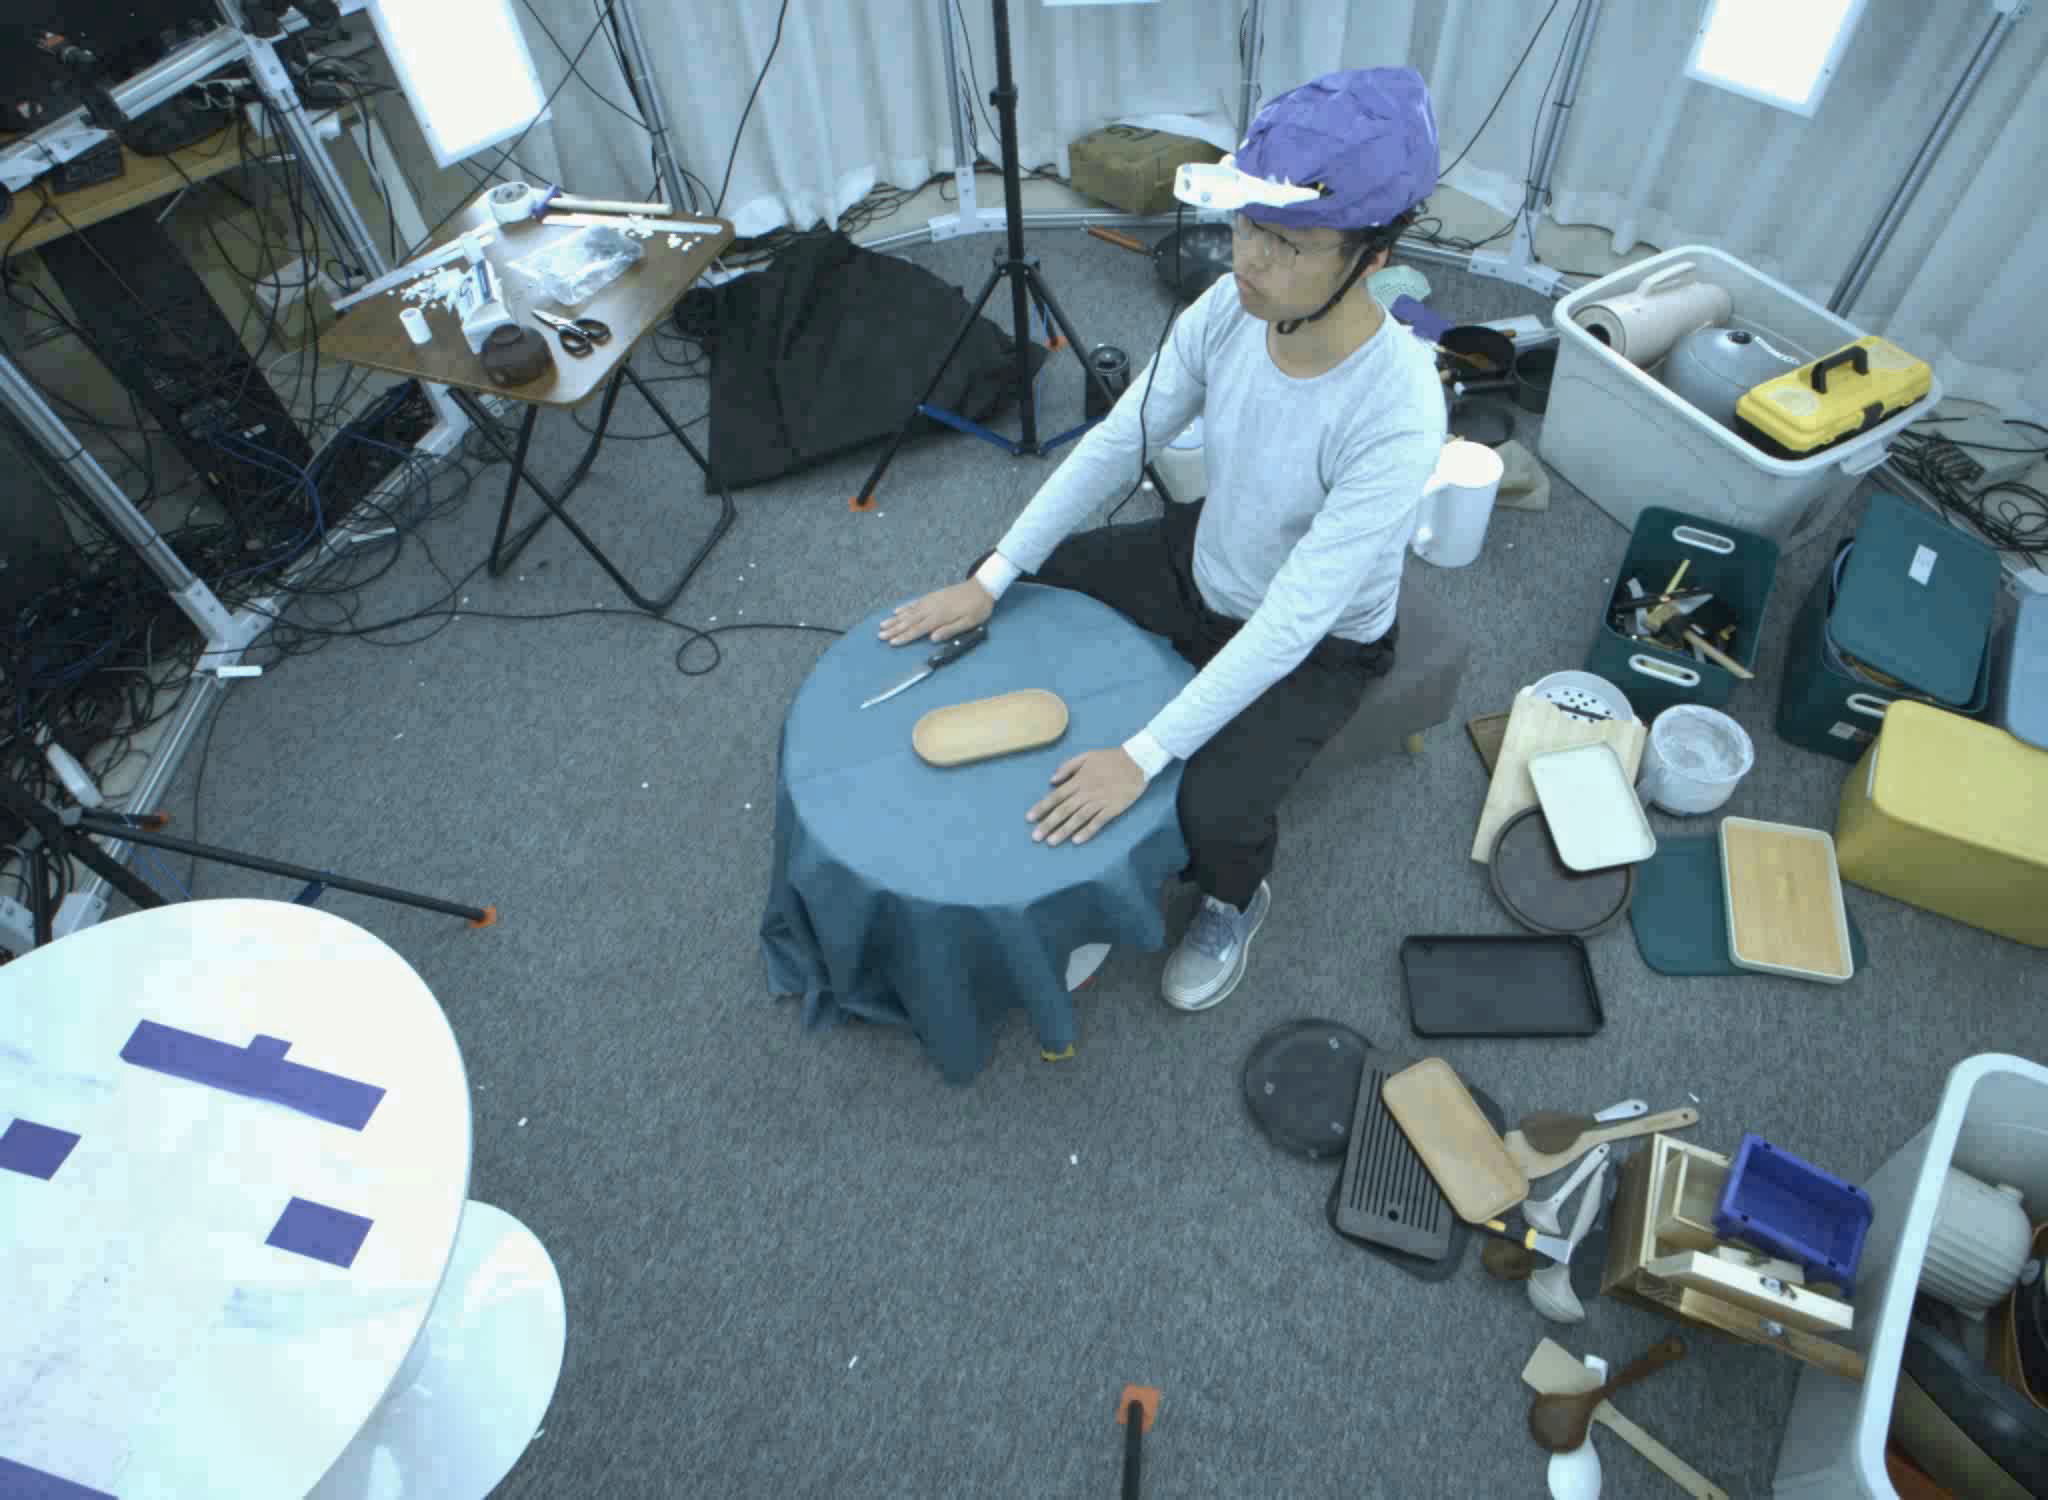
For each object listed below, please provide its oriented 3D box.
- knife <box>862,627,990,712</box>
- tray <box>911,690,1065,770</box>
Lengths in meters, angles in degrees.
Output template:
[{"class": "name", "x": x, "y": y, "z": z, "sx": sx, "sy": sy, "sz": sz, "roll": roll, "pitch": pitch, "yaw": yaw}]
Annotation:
[{"class": "knife", "x": -0.153, "y": -0.125, "z": 1.882, "sx": 0.240, "sy": 0.016, "sz": 0.024, "roll": -35, "pitch": 62, "yaw": -18}, {"class": "tray", "x": -0.052, "y": -0.030, "z": 1.808, "sx": 0.232, "sy": 0.020, "sz": 0.100, "roll": -15, "pitch": 54, "yaw": -8}]
